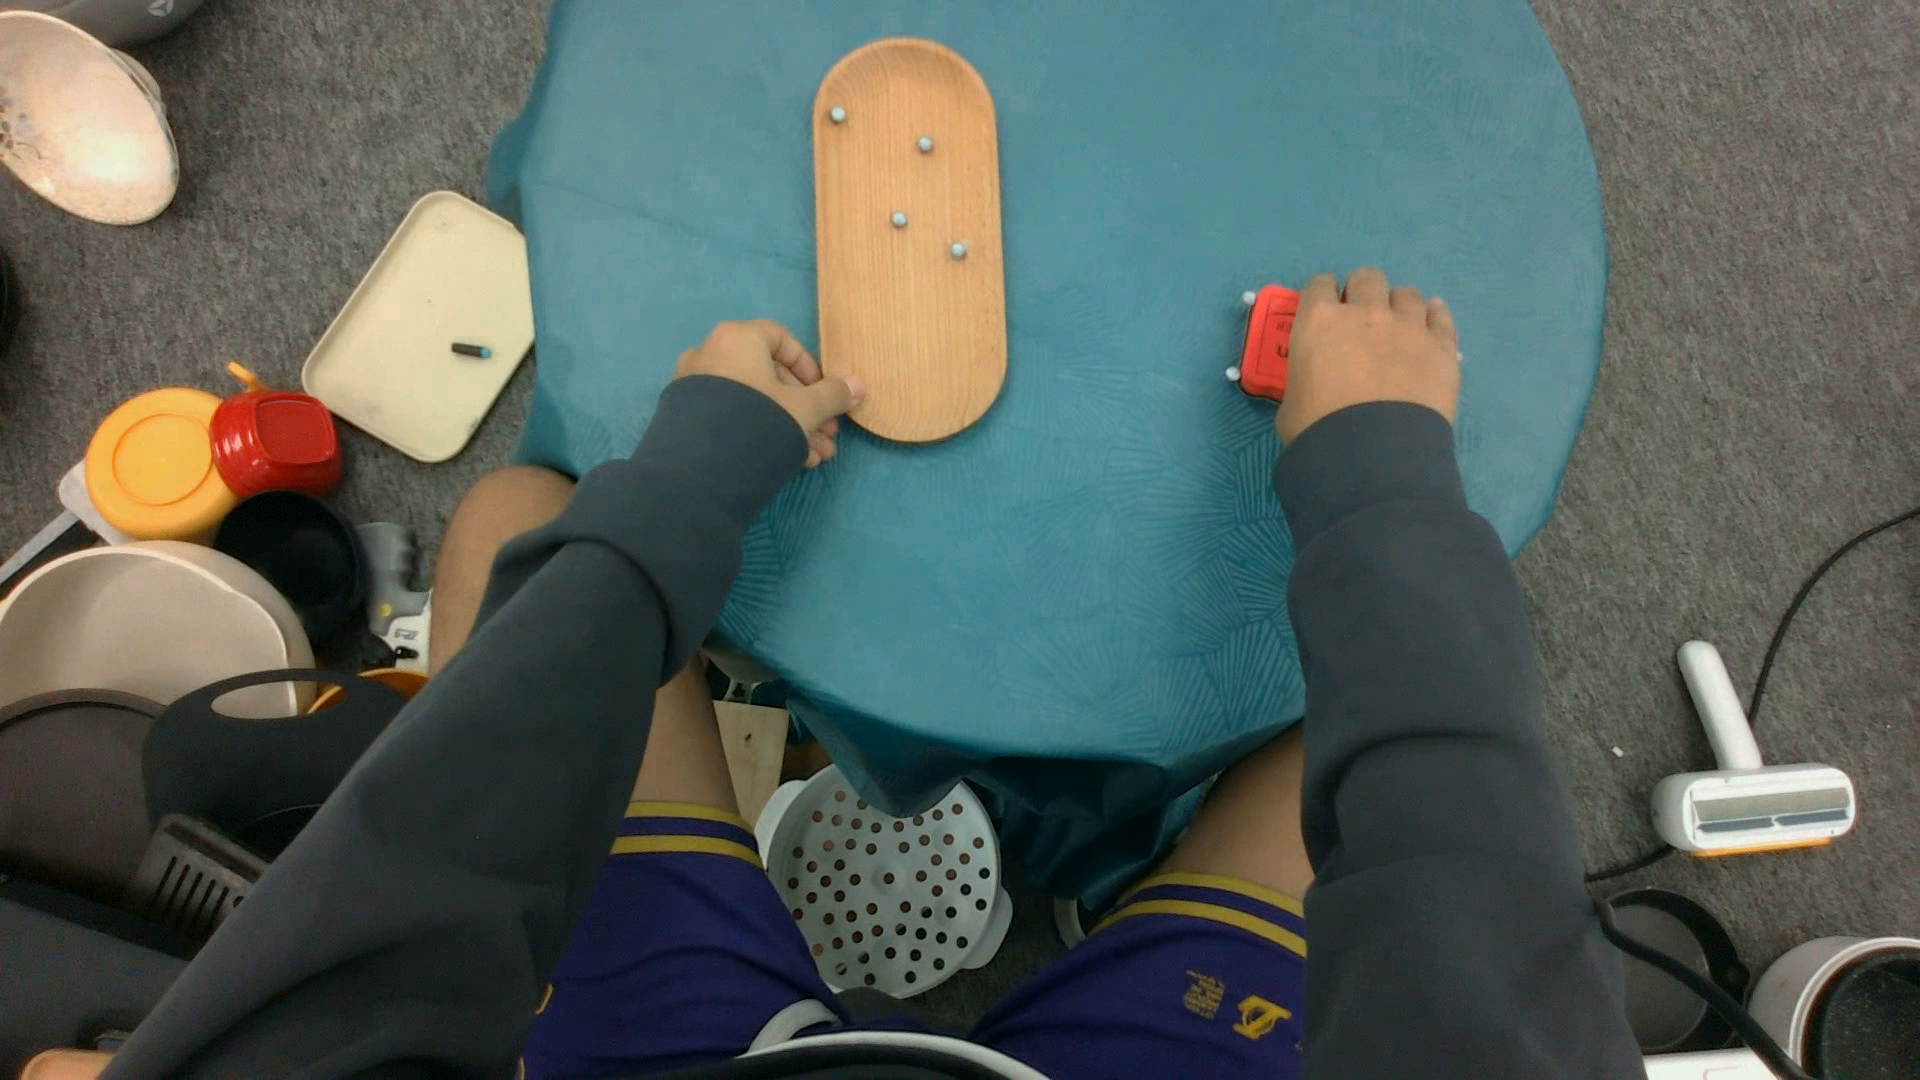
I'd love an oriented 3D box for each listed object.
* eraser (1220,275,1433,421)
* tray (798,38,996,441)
[{"bbox_3d":[0.198,-0.104,0.745,0.108,0.023,0.059,13,69,-1],"label":"eraser"},{"bbox_3d":[-0.035,-0.165,0.748,0.102,0.020,0.231,-2,79,-3],"label":"tray"}]
